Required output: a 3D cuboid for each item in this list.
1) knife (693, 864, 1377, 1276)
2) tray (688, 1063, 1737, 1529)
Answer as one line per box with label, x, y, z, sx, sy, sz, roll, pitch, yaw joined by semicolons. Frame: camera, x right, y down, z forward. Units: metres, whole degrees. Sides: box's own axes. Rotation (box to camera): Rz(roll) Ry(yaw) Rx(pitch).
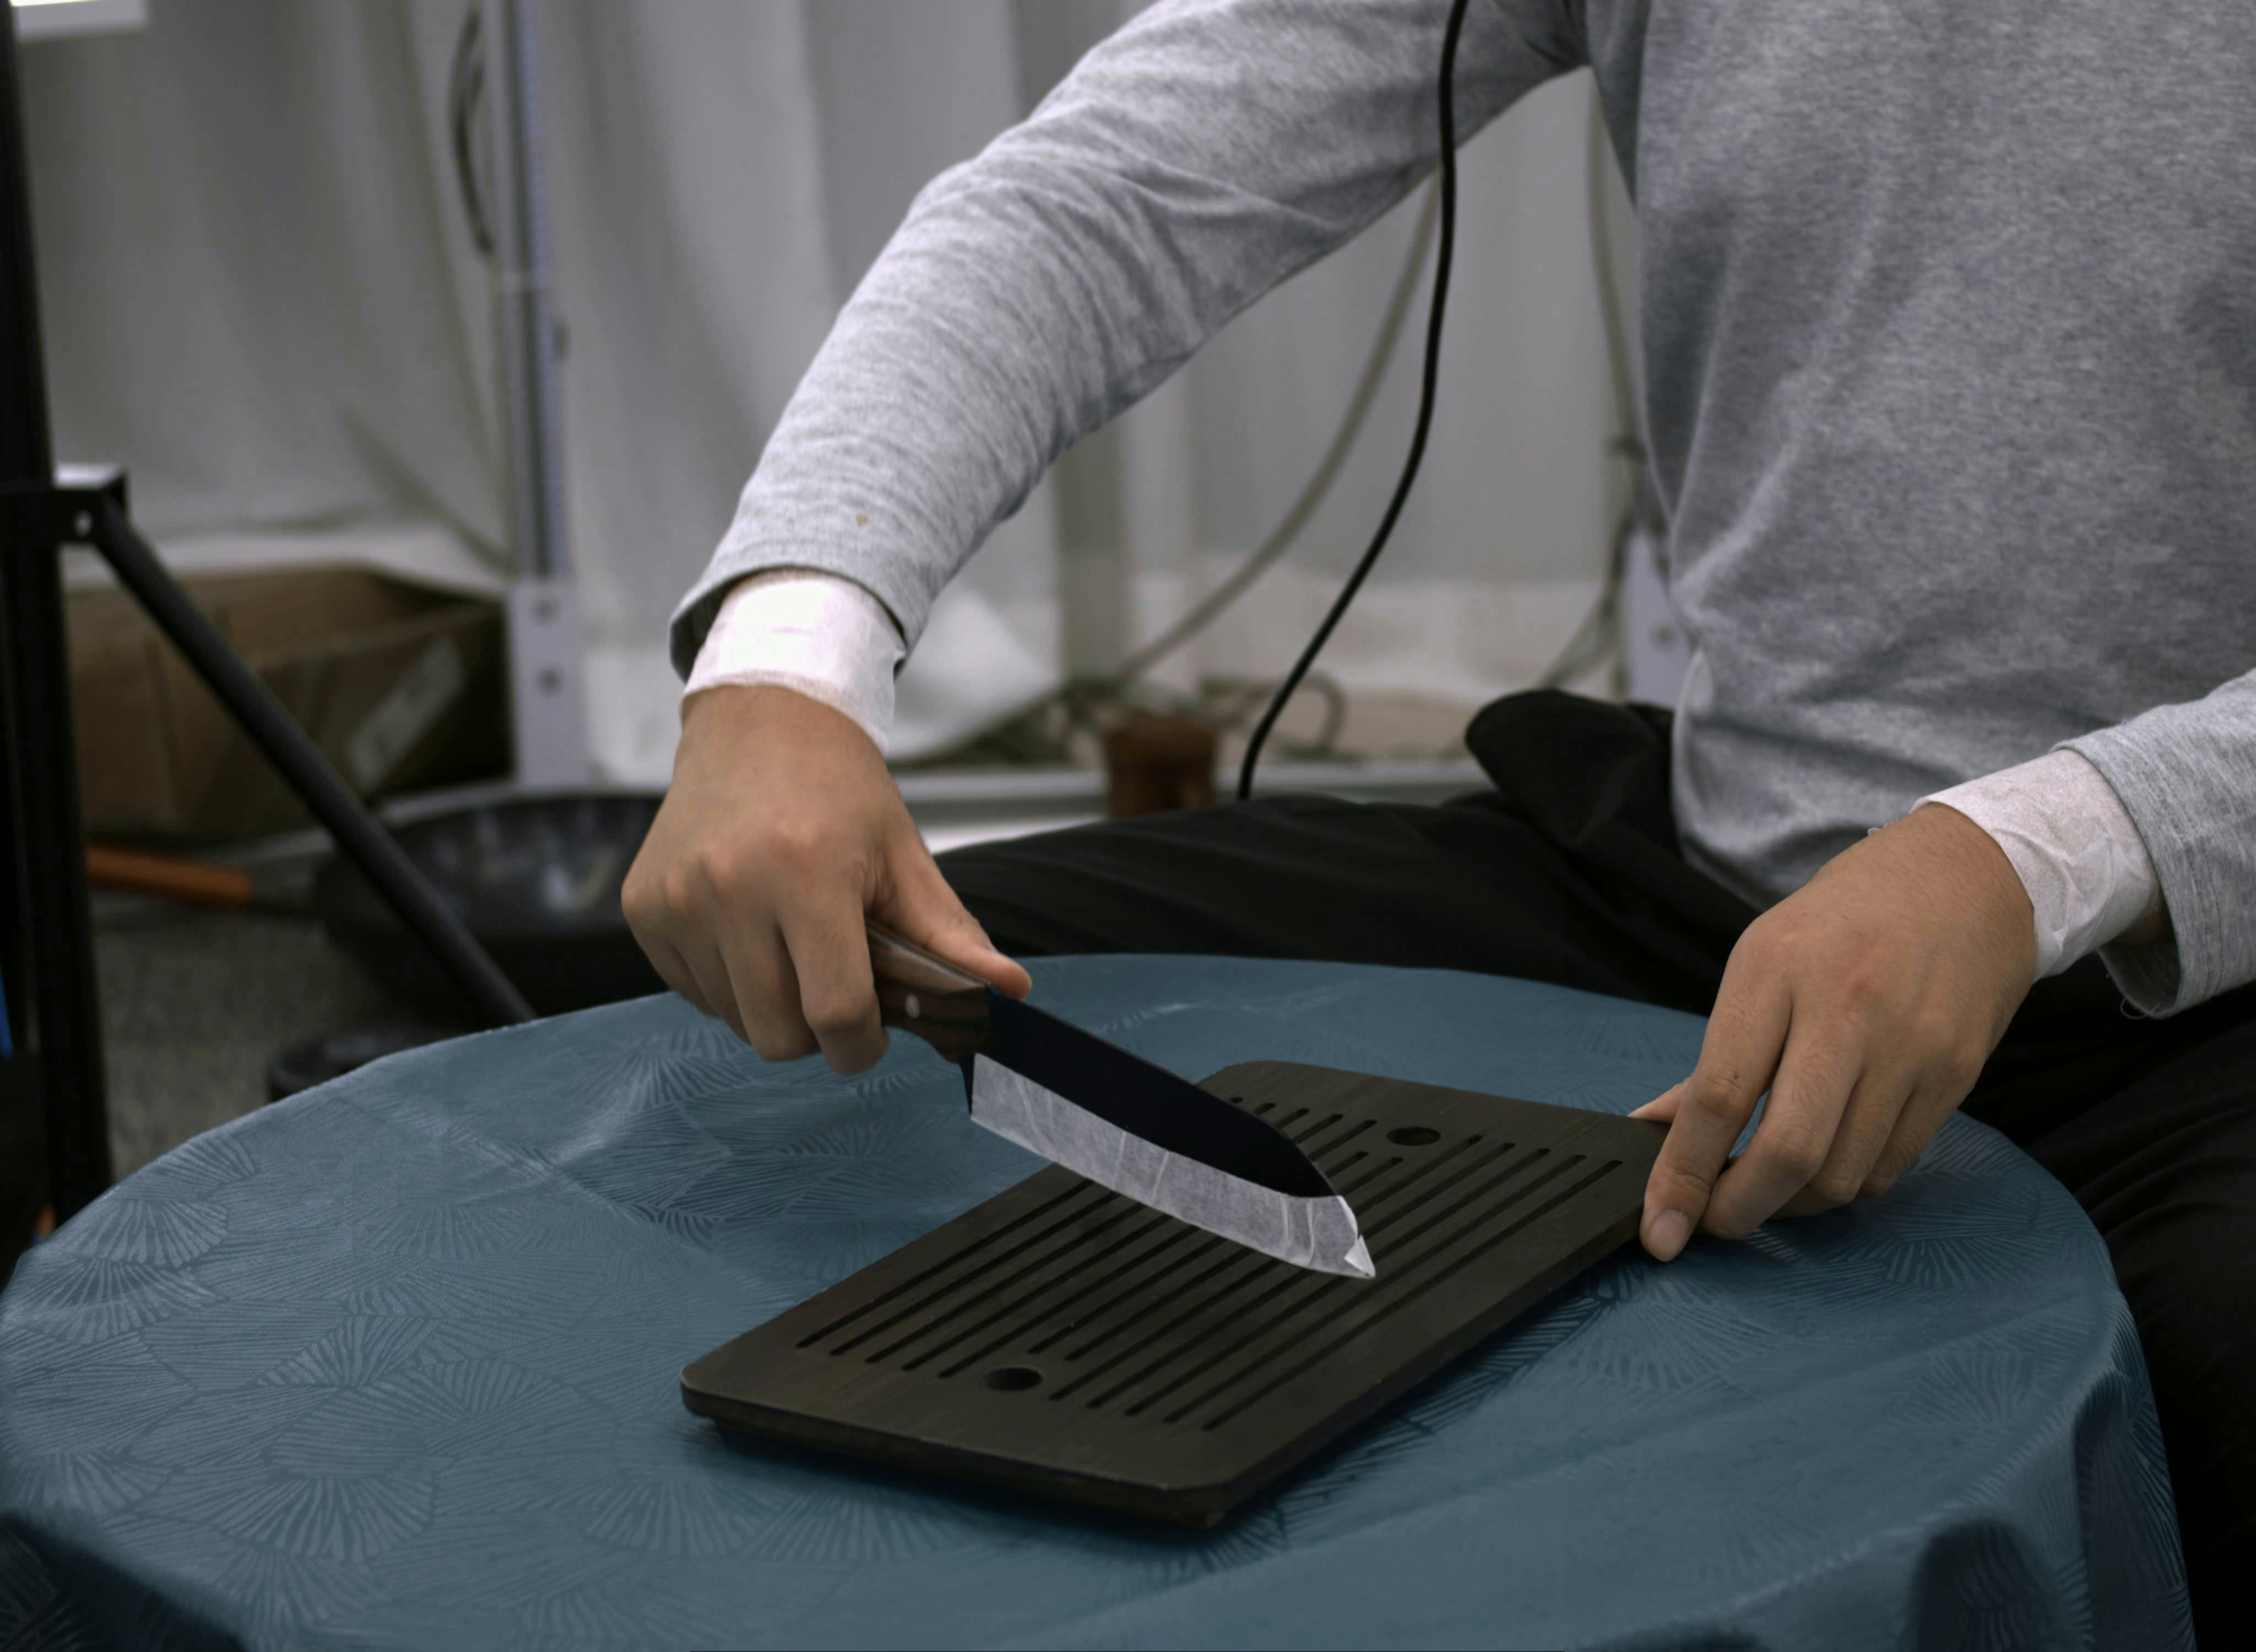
knife;-0.030;0.068;1.525;0.019;0.050;0.296;-16;30;-39
tray;0.031;0.126;1.463;0.173;0.018;0.300;8;18;32
